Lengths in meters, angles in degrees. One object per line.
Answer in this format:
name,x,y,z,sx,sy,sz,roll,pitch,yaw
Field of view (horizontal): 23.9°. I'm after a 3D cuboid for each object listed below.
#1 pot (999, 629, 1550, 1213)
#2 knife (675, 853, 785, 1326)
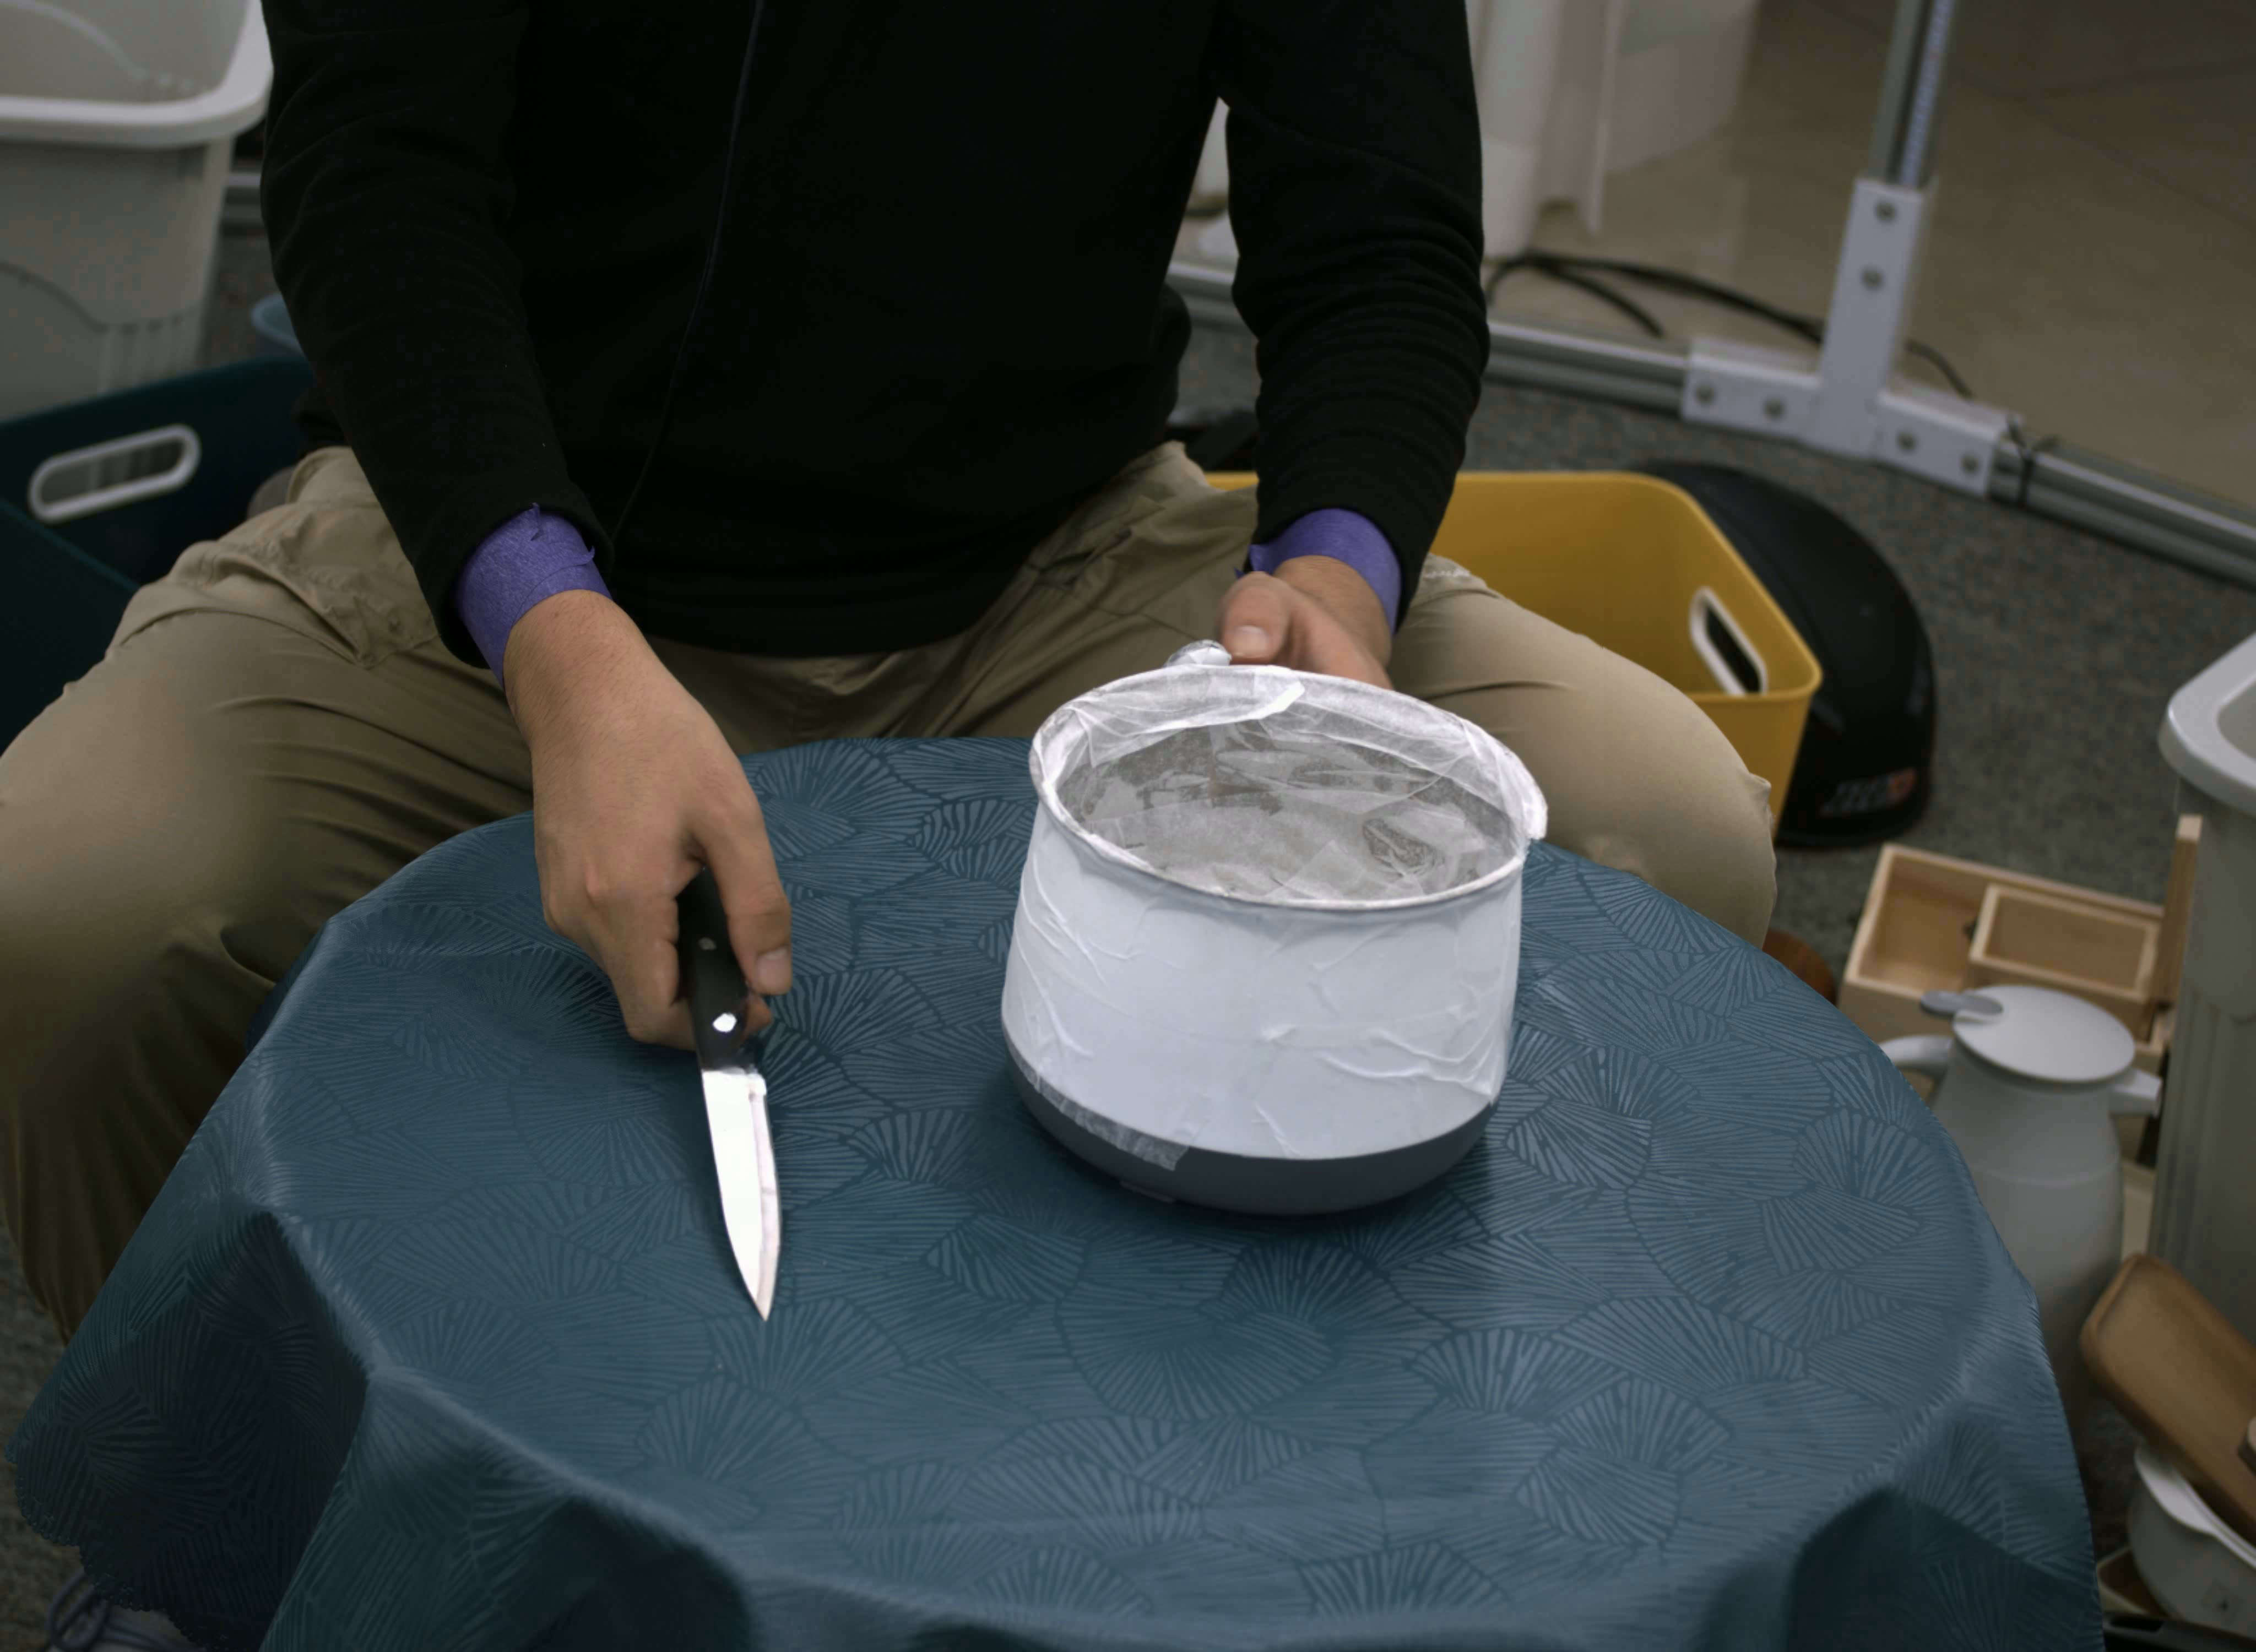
pot,0.039,0.026,1.850,0.177,0.136,0.236,-2,29,-18
knife,-0.135,0.086,1.802,0.024,0.016,0.240,18,33,-23
